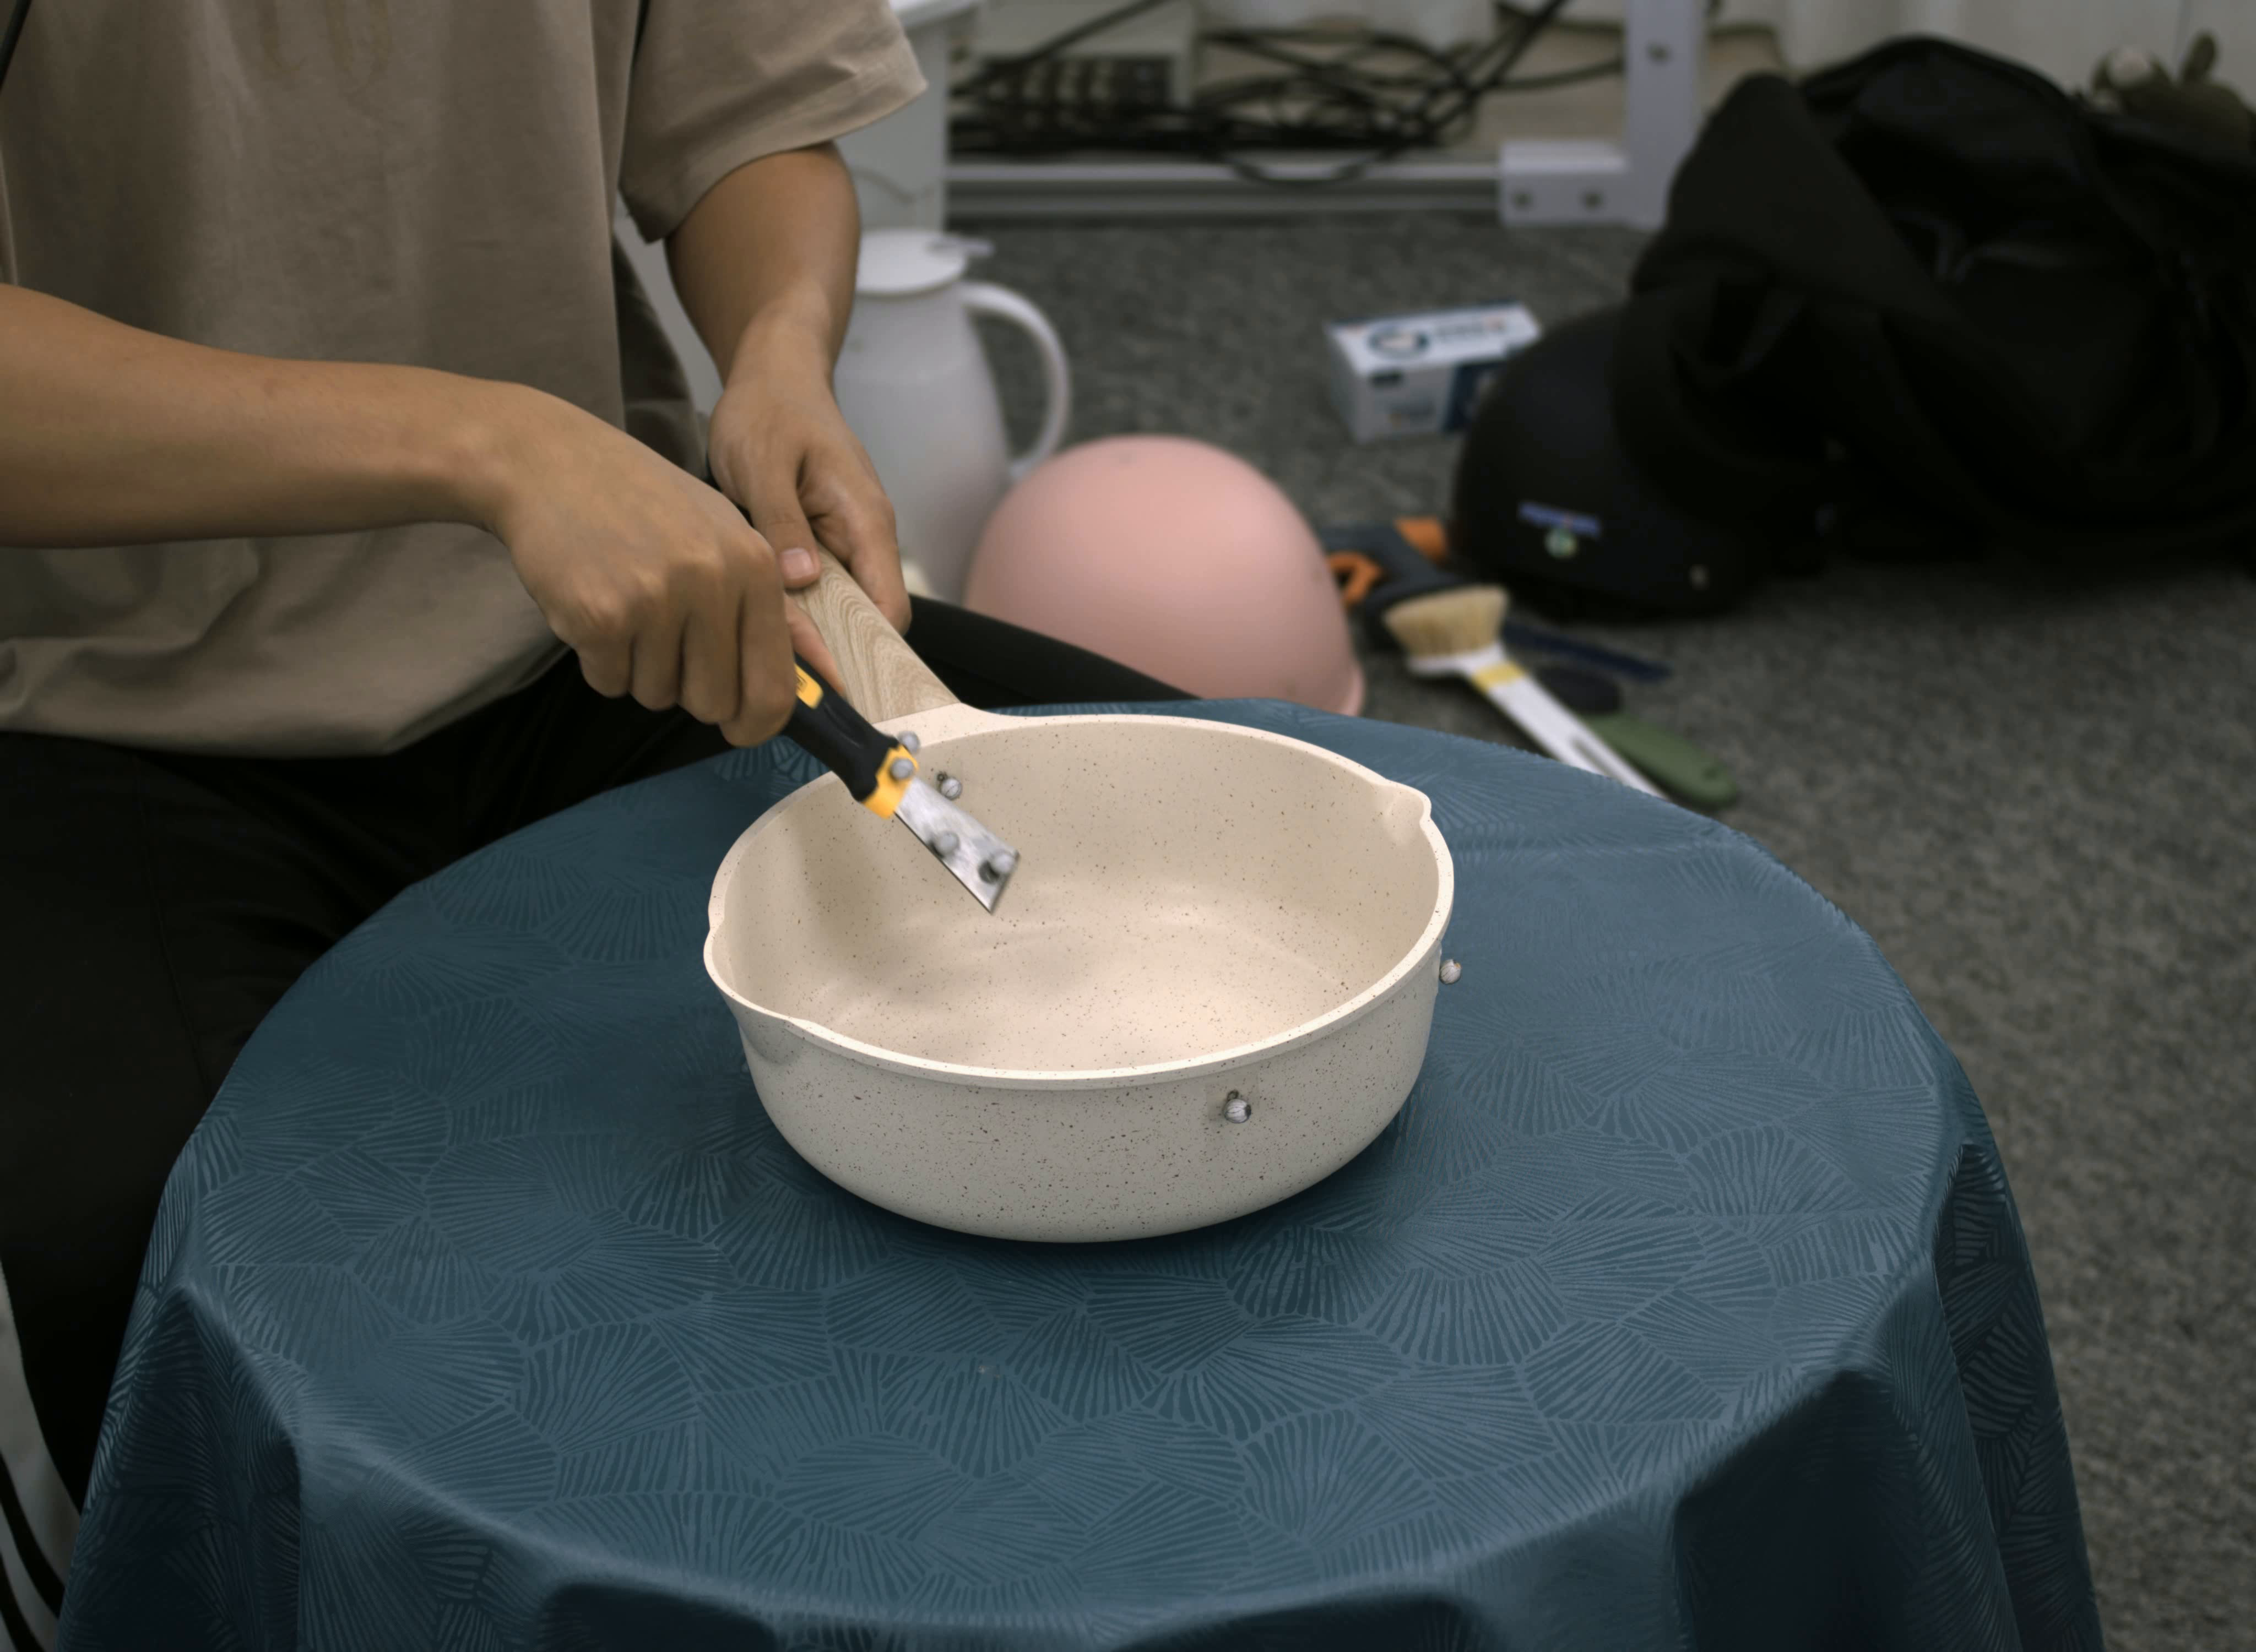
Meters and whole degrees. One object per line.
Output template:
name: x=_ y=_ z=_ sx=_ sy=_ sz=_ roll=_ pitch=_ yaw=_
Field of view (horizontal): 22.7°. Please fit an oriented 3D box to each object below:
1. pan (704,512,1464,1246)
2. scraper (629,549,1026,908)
pan: x=-0.049 y=0.012 z=1.977 sx=0.264 sy=0.101 sz=0.437 roll=-17 pitch=30 yaw=-20
scraper: x=-0.103 y=-0.034 z=1.922 sx=0.014 sy=0.170 sz=0.039 roll=-36 pitch=21 yaw=40
